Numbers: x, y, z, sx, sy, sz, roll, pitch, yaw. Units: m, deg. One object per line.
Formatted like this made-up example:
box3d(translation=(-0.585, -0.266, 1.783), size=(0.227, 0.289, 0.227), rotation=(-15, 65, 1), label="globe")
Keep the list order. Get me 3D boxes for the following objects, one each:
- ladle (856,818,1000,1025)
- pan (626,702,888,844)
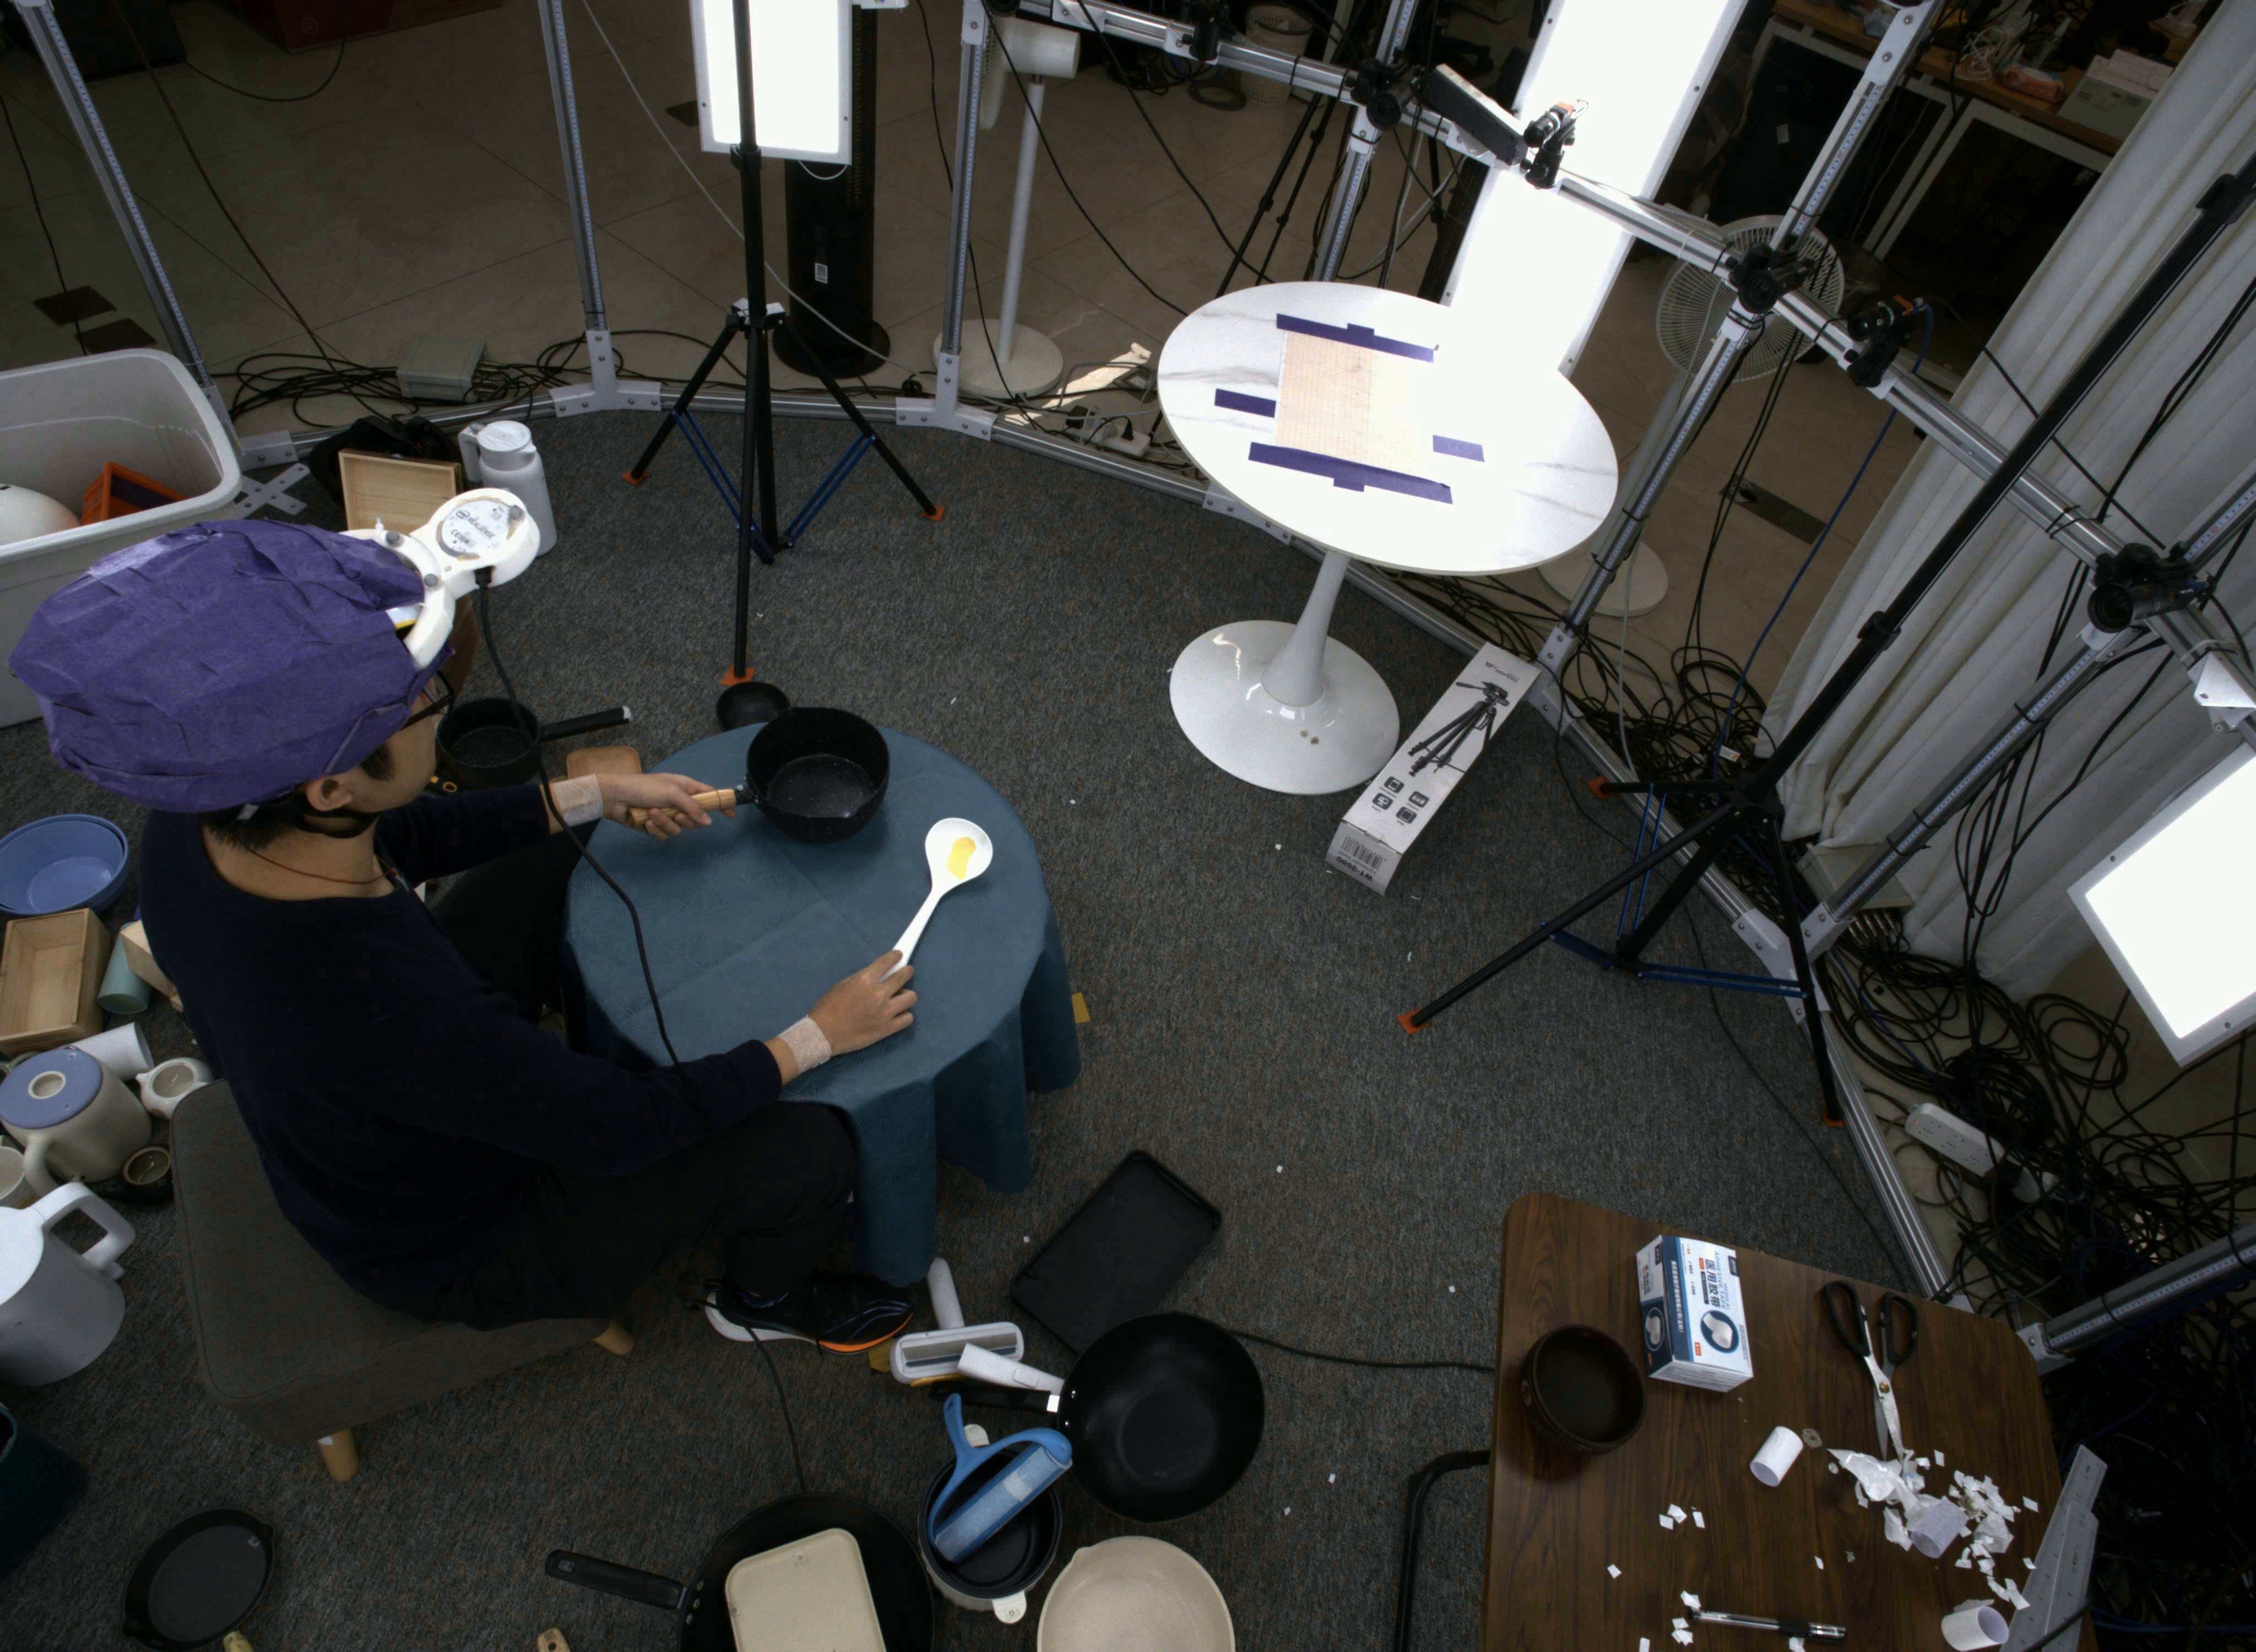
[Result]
box3d(translation=(-0.254, 0.116, 1.629), size=(0.090, 0.070, 0.290), rotation=(32, 50, -6), label="ladle")
box3d(translation=(-0.473, -0.042, 1.663), size=(0.344, 0.110, 0.202), rotation=(-23, 63, -28), label="pan")
